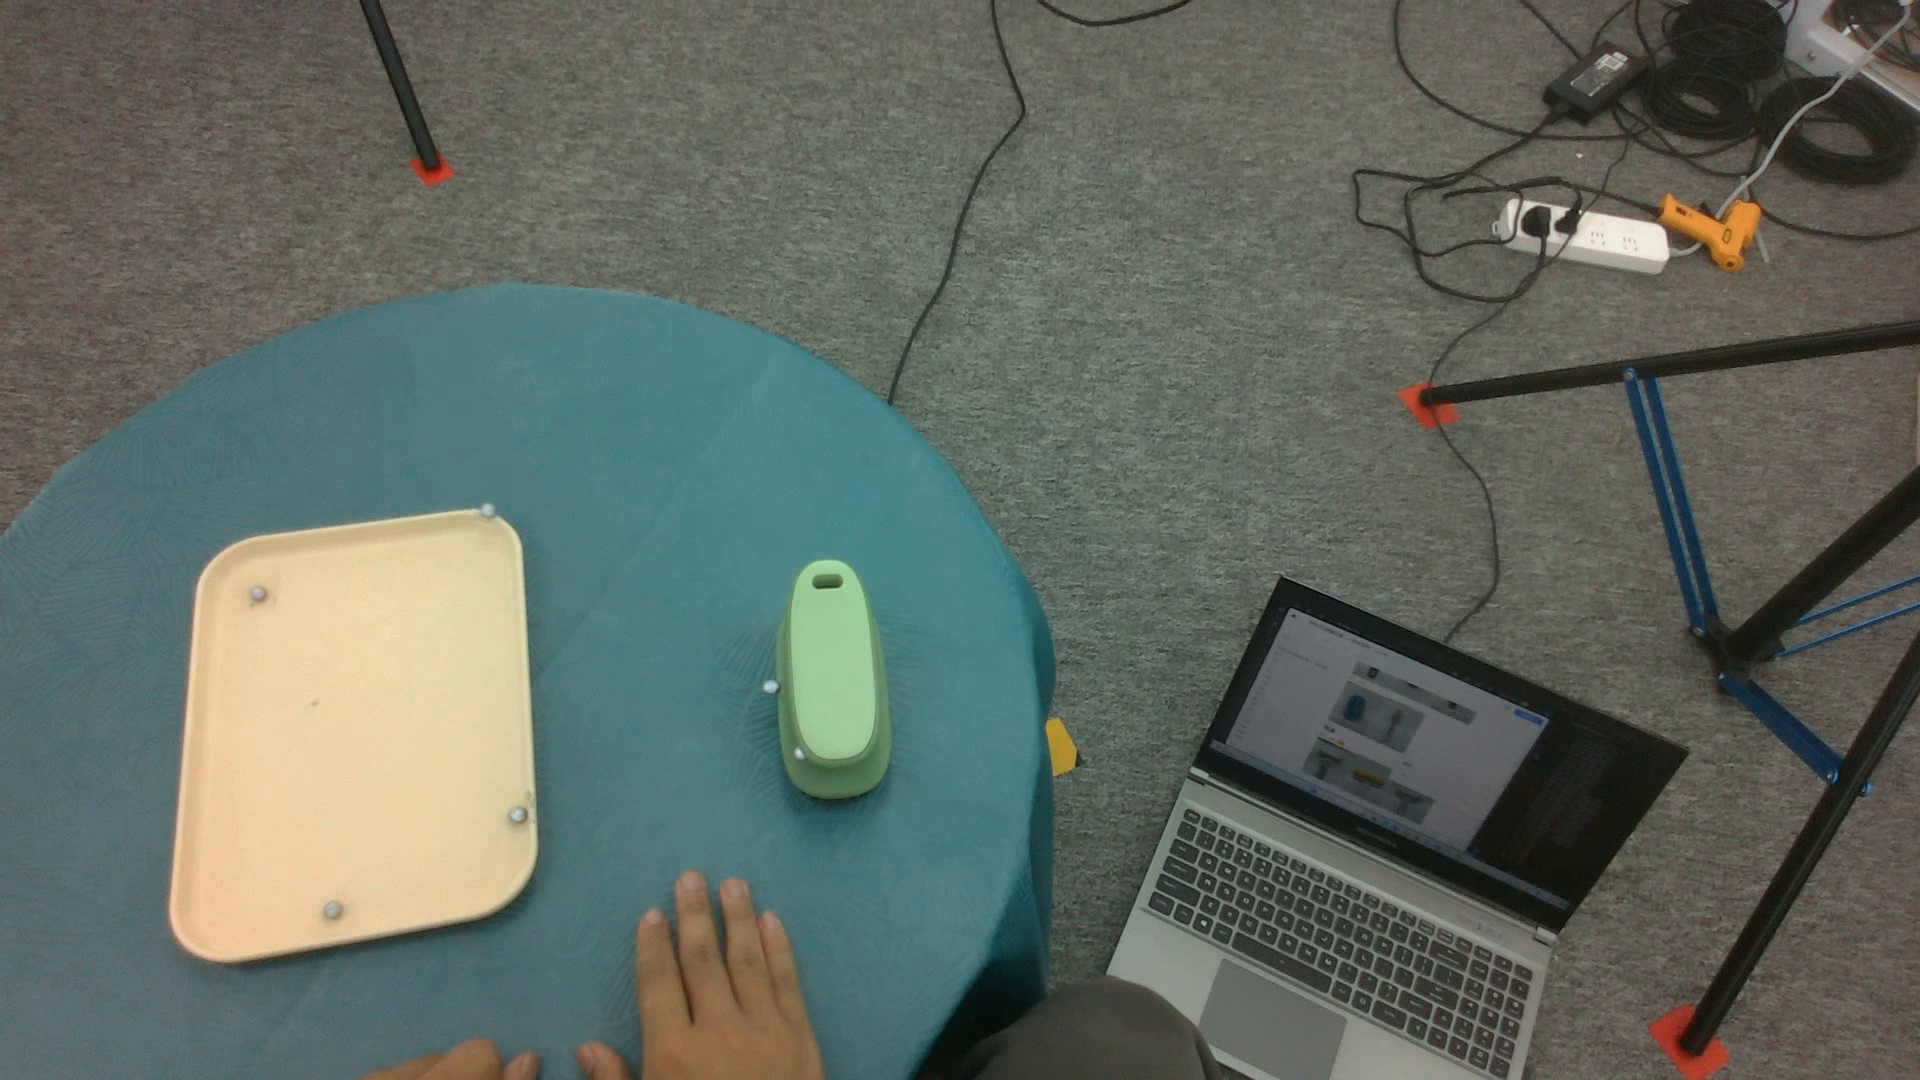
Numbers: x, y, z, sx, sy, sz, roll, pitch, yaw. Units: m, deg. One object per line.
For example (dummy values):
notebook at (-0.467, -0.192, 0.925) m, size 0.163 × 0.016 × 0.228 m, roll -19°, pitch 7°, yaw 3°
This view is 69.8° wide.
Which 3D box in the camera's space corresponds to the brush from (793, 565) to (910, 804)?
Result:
brush at (-0.060, 0.082, 0.750) m, size 0.059 × 0.075 × 0.123 m, roll -7°, pitch 71°, yaw -7°

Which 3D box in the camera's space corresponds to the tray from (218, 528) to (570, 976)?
tray at (-0.303, 0.105, 0.740) m, size 0.171 × 0.017 × 0.240 m, roll -10°, pitch 58°, yaw -9°
